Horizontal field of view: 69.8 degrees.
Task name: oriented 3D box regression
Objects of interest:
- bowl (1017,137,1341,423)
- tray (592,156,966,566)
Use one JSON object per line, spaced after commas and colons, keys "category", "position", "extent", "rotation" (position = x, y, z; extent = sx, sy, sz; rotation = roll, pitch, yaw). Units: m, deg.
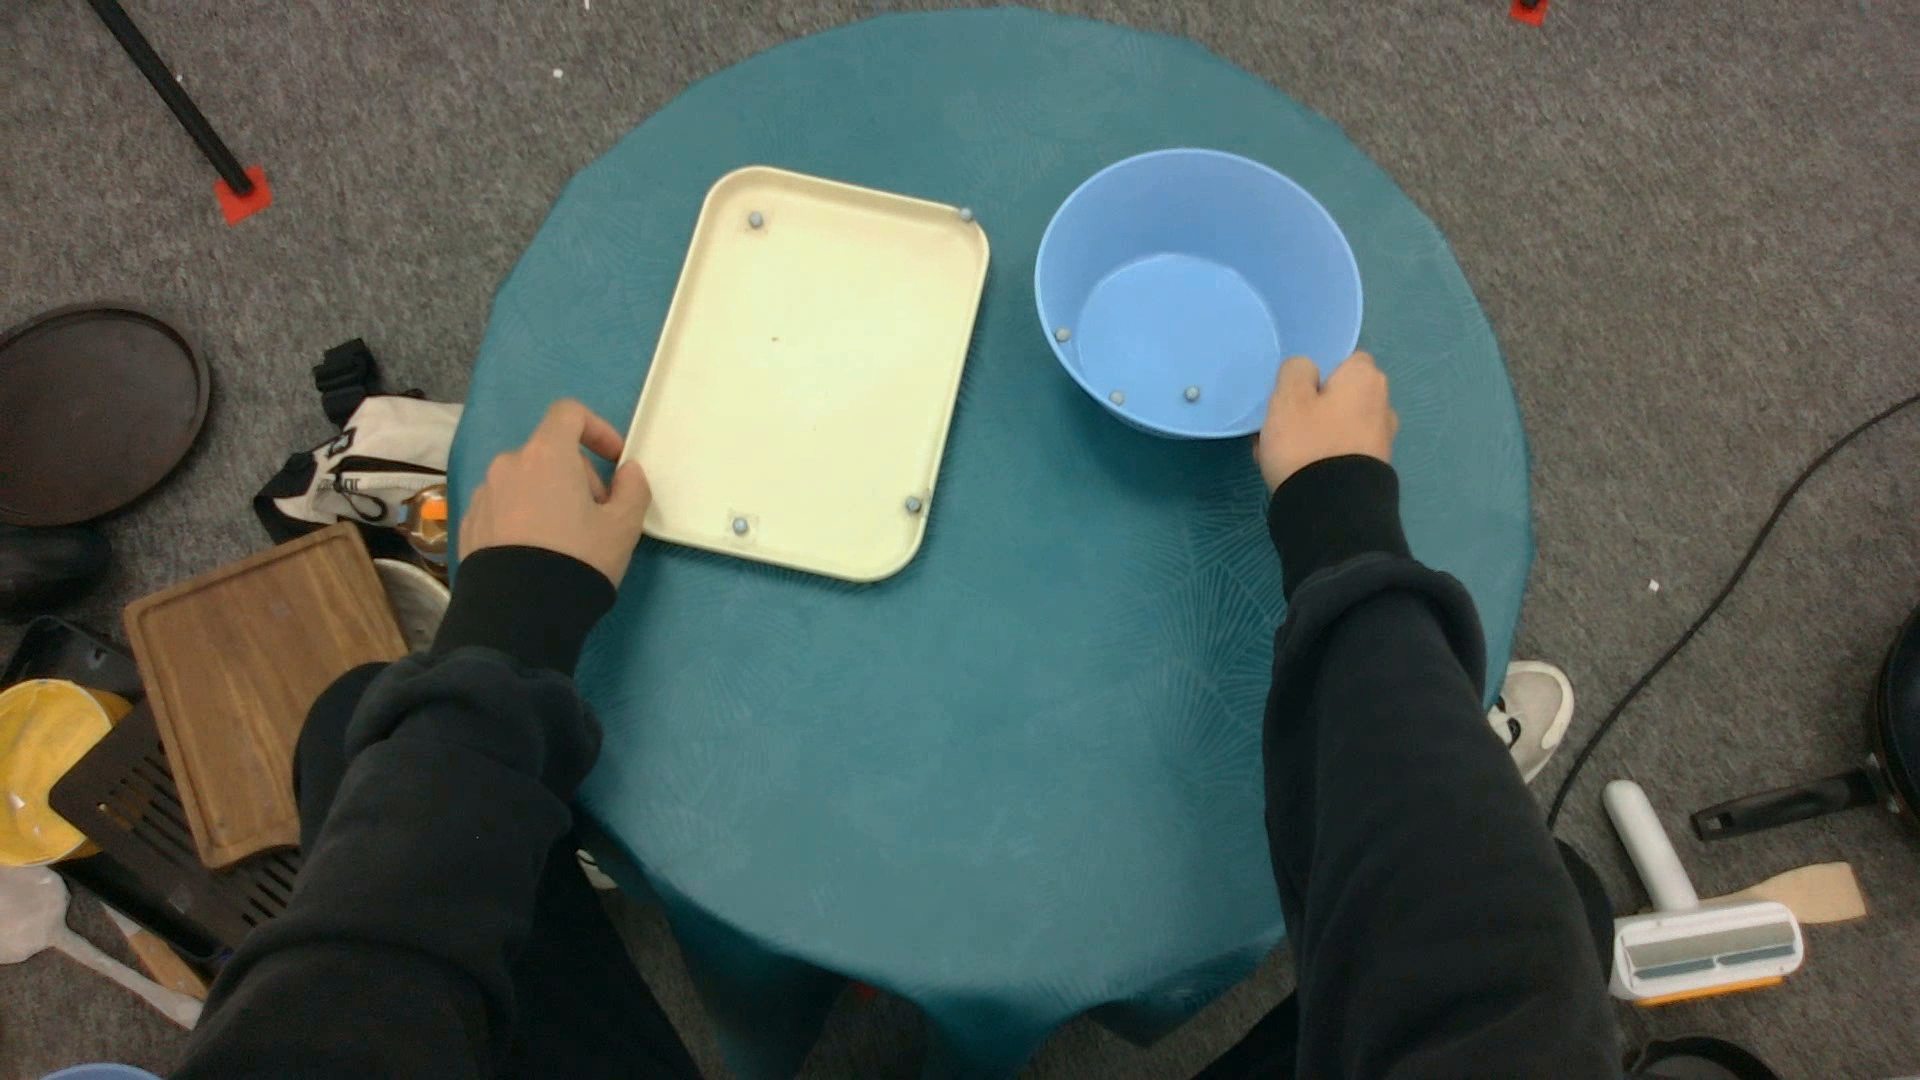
{"category": "bowl", "position": [0.117, -0.132, 0.769], "extent": [0.176, 0.070, 0.176], "rotation": [1, 69, -2]}
{"category": "tray", "position": [-0.097, -0.105, 0.774], "extent": [0.171, 0.017, 0.240], "rotation": [12, 69, 2]}
